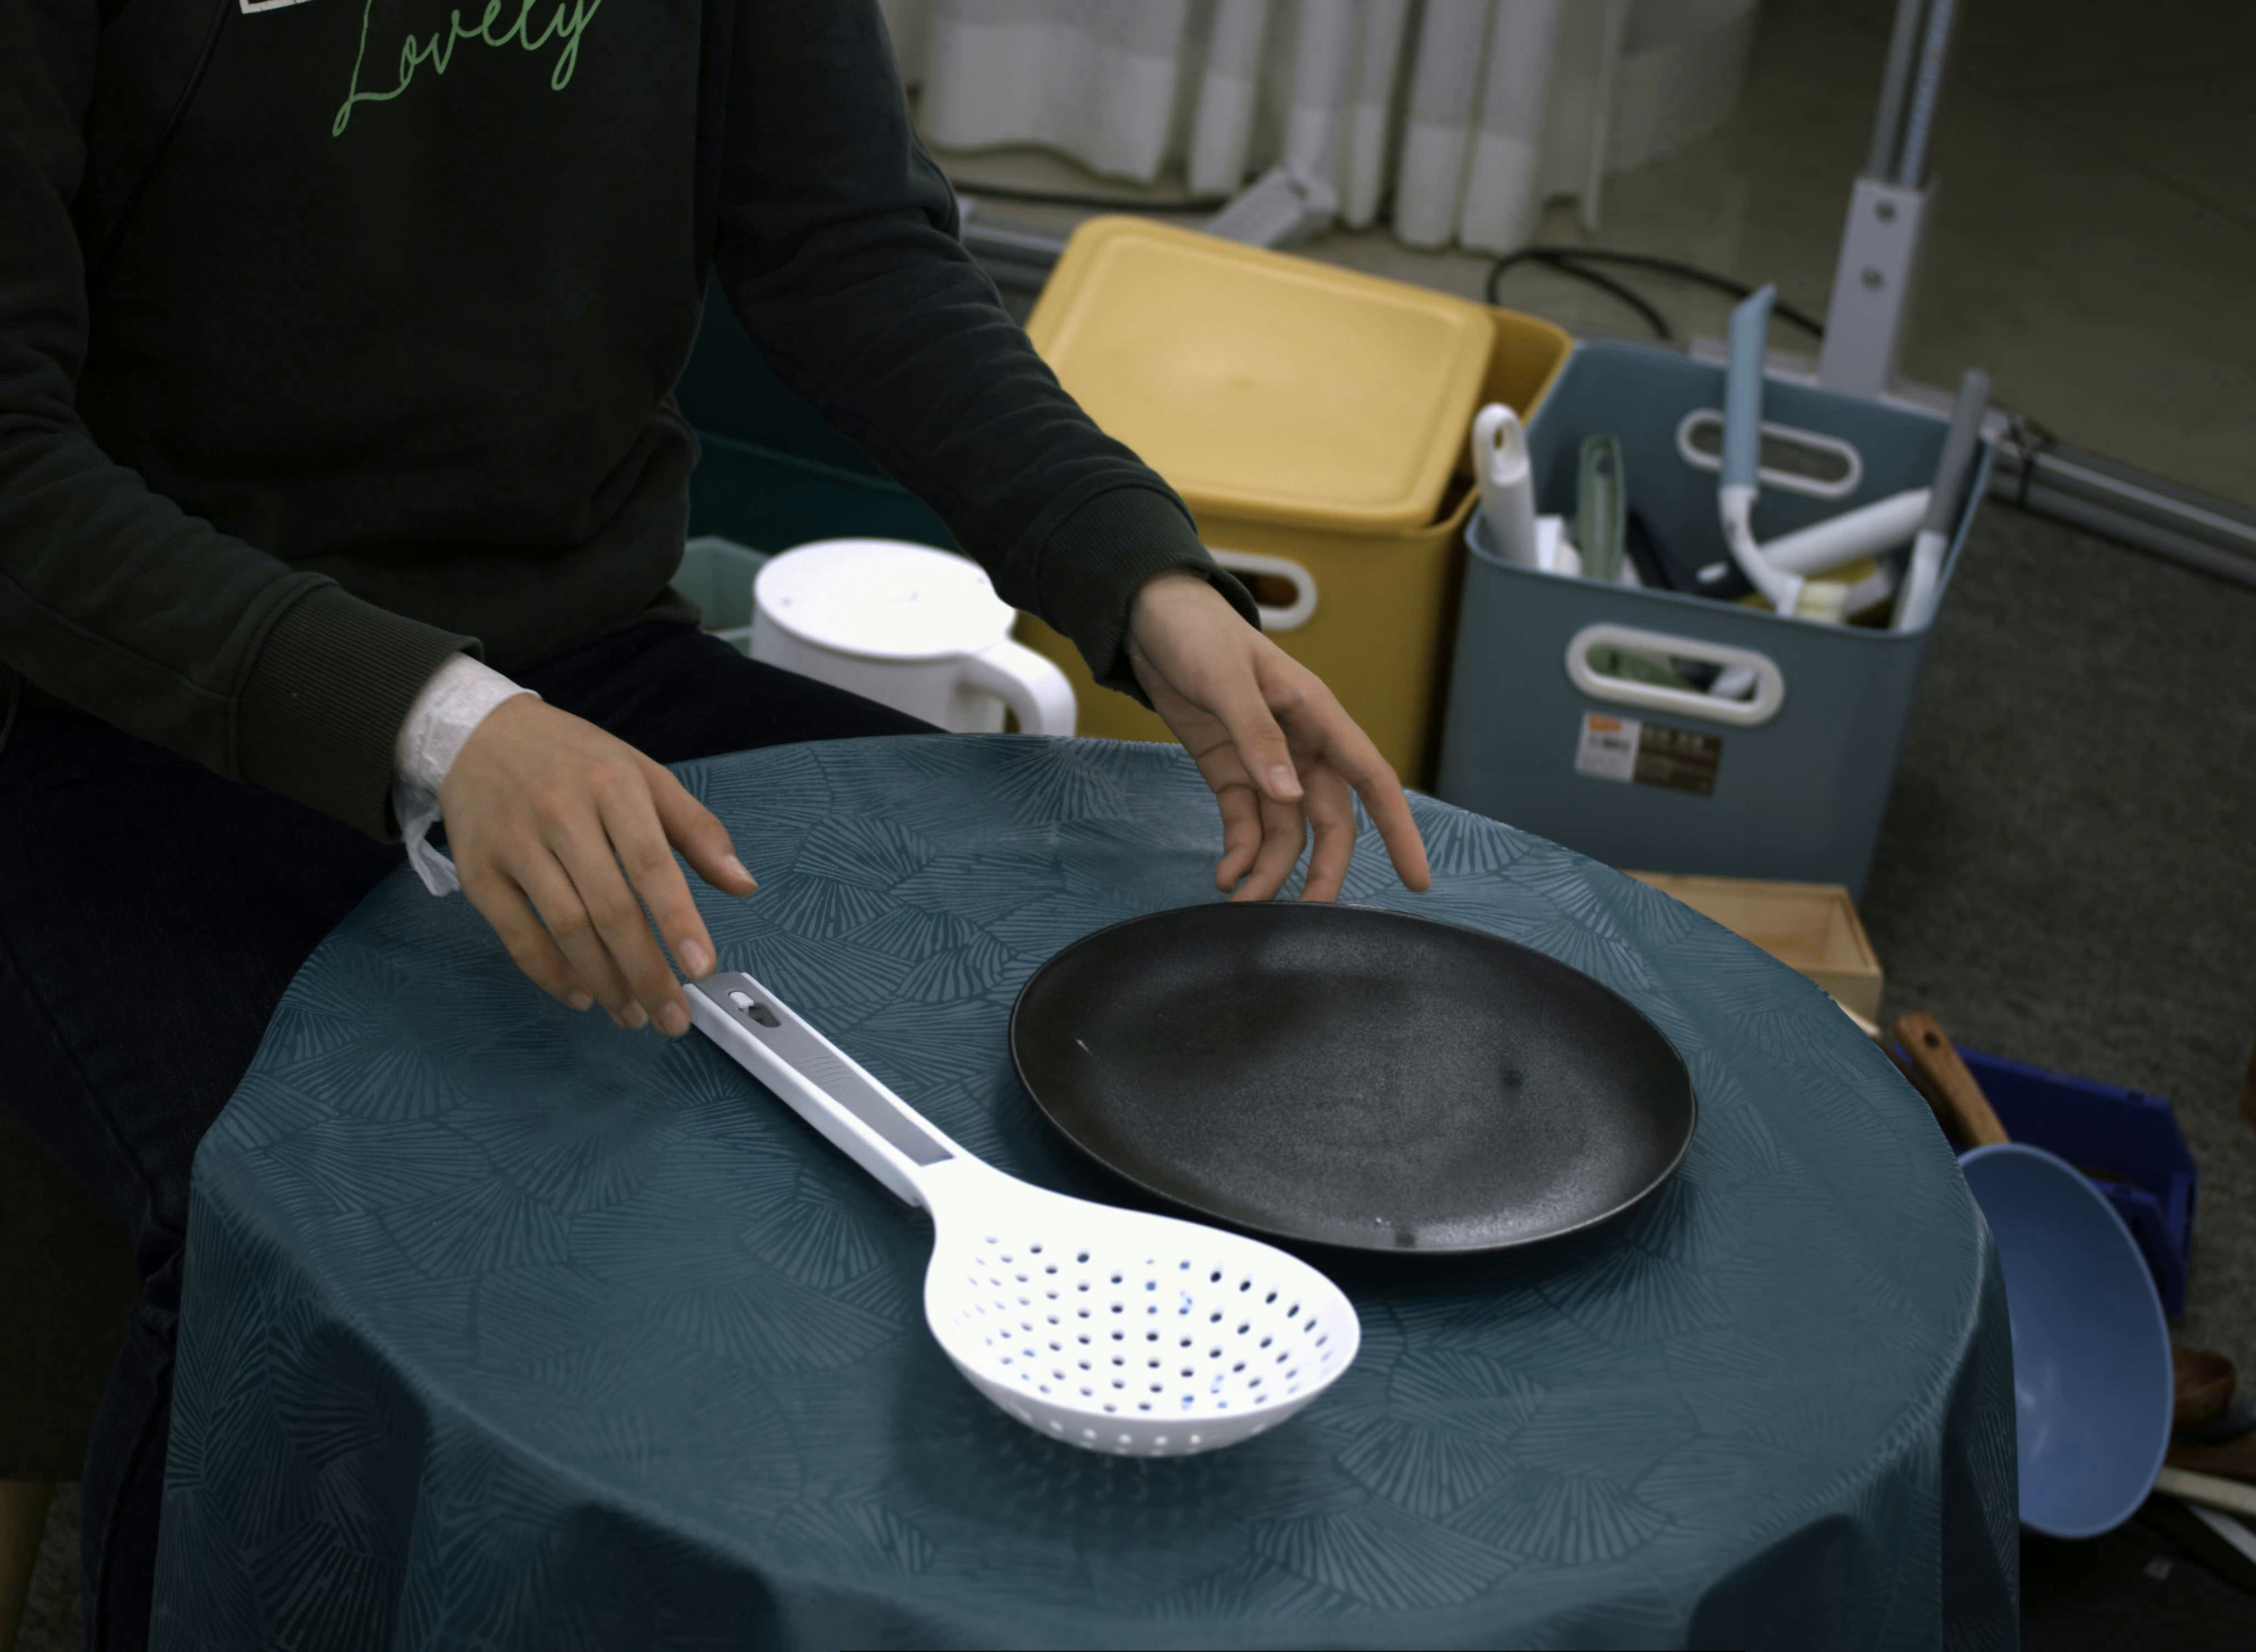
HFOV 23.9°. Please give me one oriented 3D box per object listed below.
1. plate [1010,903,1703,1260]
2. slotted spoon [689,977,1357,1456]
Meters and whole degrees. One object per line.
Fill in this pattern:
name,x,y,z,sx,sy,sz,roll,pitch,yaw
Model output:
plate,0.079,0.093,1.853,0.243,0.023,0.246,5,27,-3
slotted spoon,-0.054,0.121,1.742,0.135,0.045,0.353,-8,29,-31
